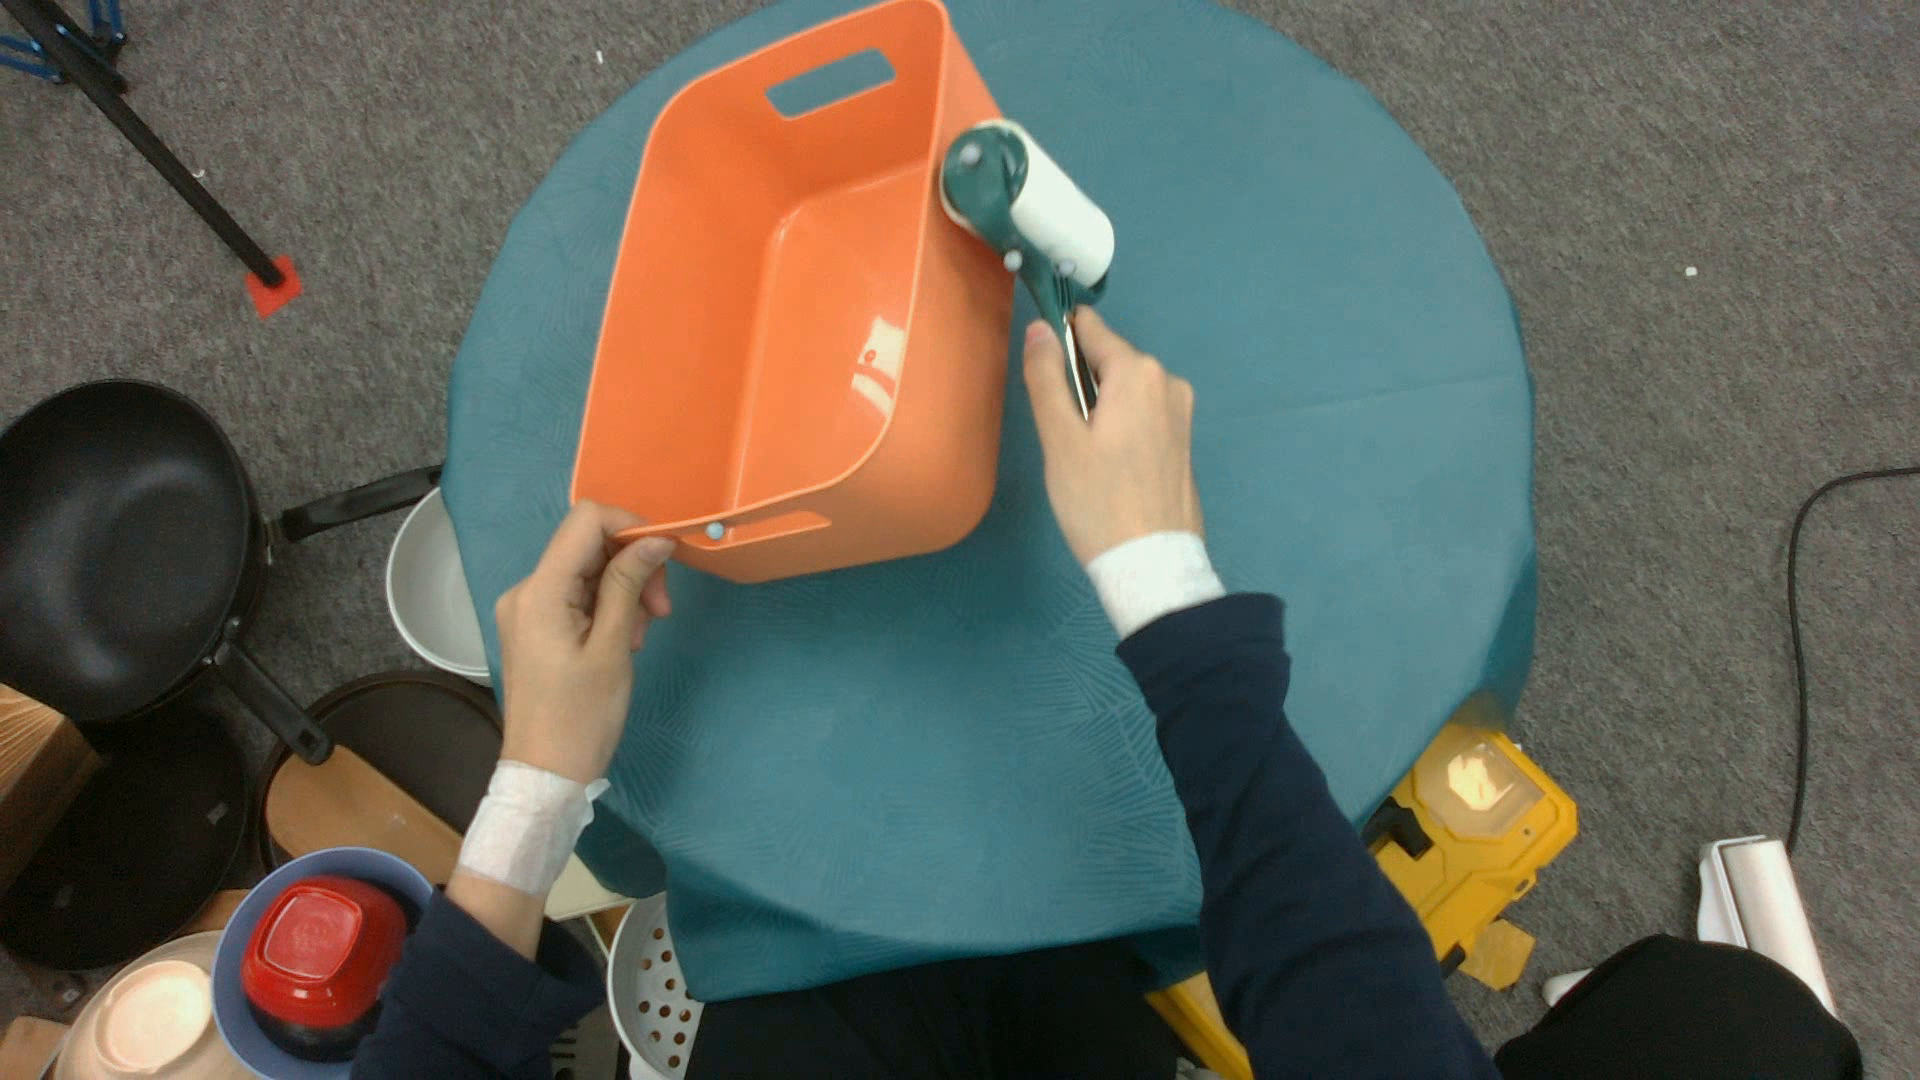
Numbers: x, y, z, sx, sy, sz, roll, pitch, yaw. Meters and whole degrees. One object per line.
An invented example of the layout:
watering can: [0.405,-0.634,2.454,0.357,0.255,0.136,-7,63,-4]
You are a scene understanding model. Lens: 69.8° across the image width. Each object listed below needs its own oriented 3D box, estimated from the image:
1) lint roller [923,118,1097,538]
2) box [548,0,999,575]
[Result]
lint roller: [0.045,-0.092,0.632,0.048,0.134,0.180,-25,72,21]
box: [-0.081,-0.120,0.682,0.199,0.102,0.274,-11,62,30]
